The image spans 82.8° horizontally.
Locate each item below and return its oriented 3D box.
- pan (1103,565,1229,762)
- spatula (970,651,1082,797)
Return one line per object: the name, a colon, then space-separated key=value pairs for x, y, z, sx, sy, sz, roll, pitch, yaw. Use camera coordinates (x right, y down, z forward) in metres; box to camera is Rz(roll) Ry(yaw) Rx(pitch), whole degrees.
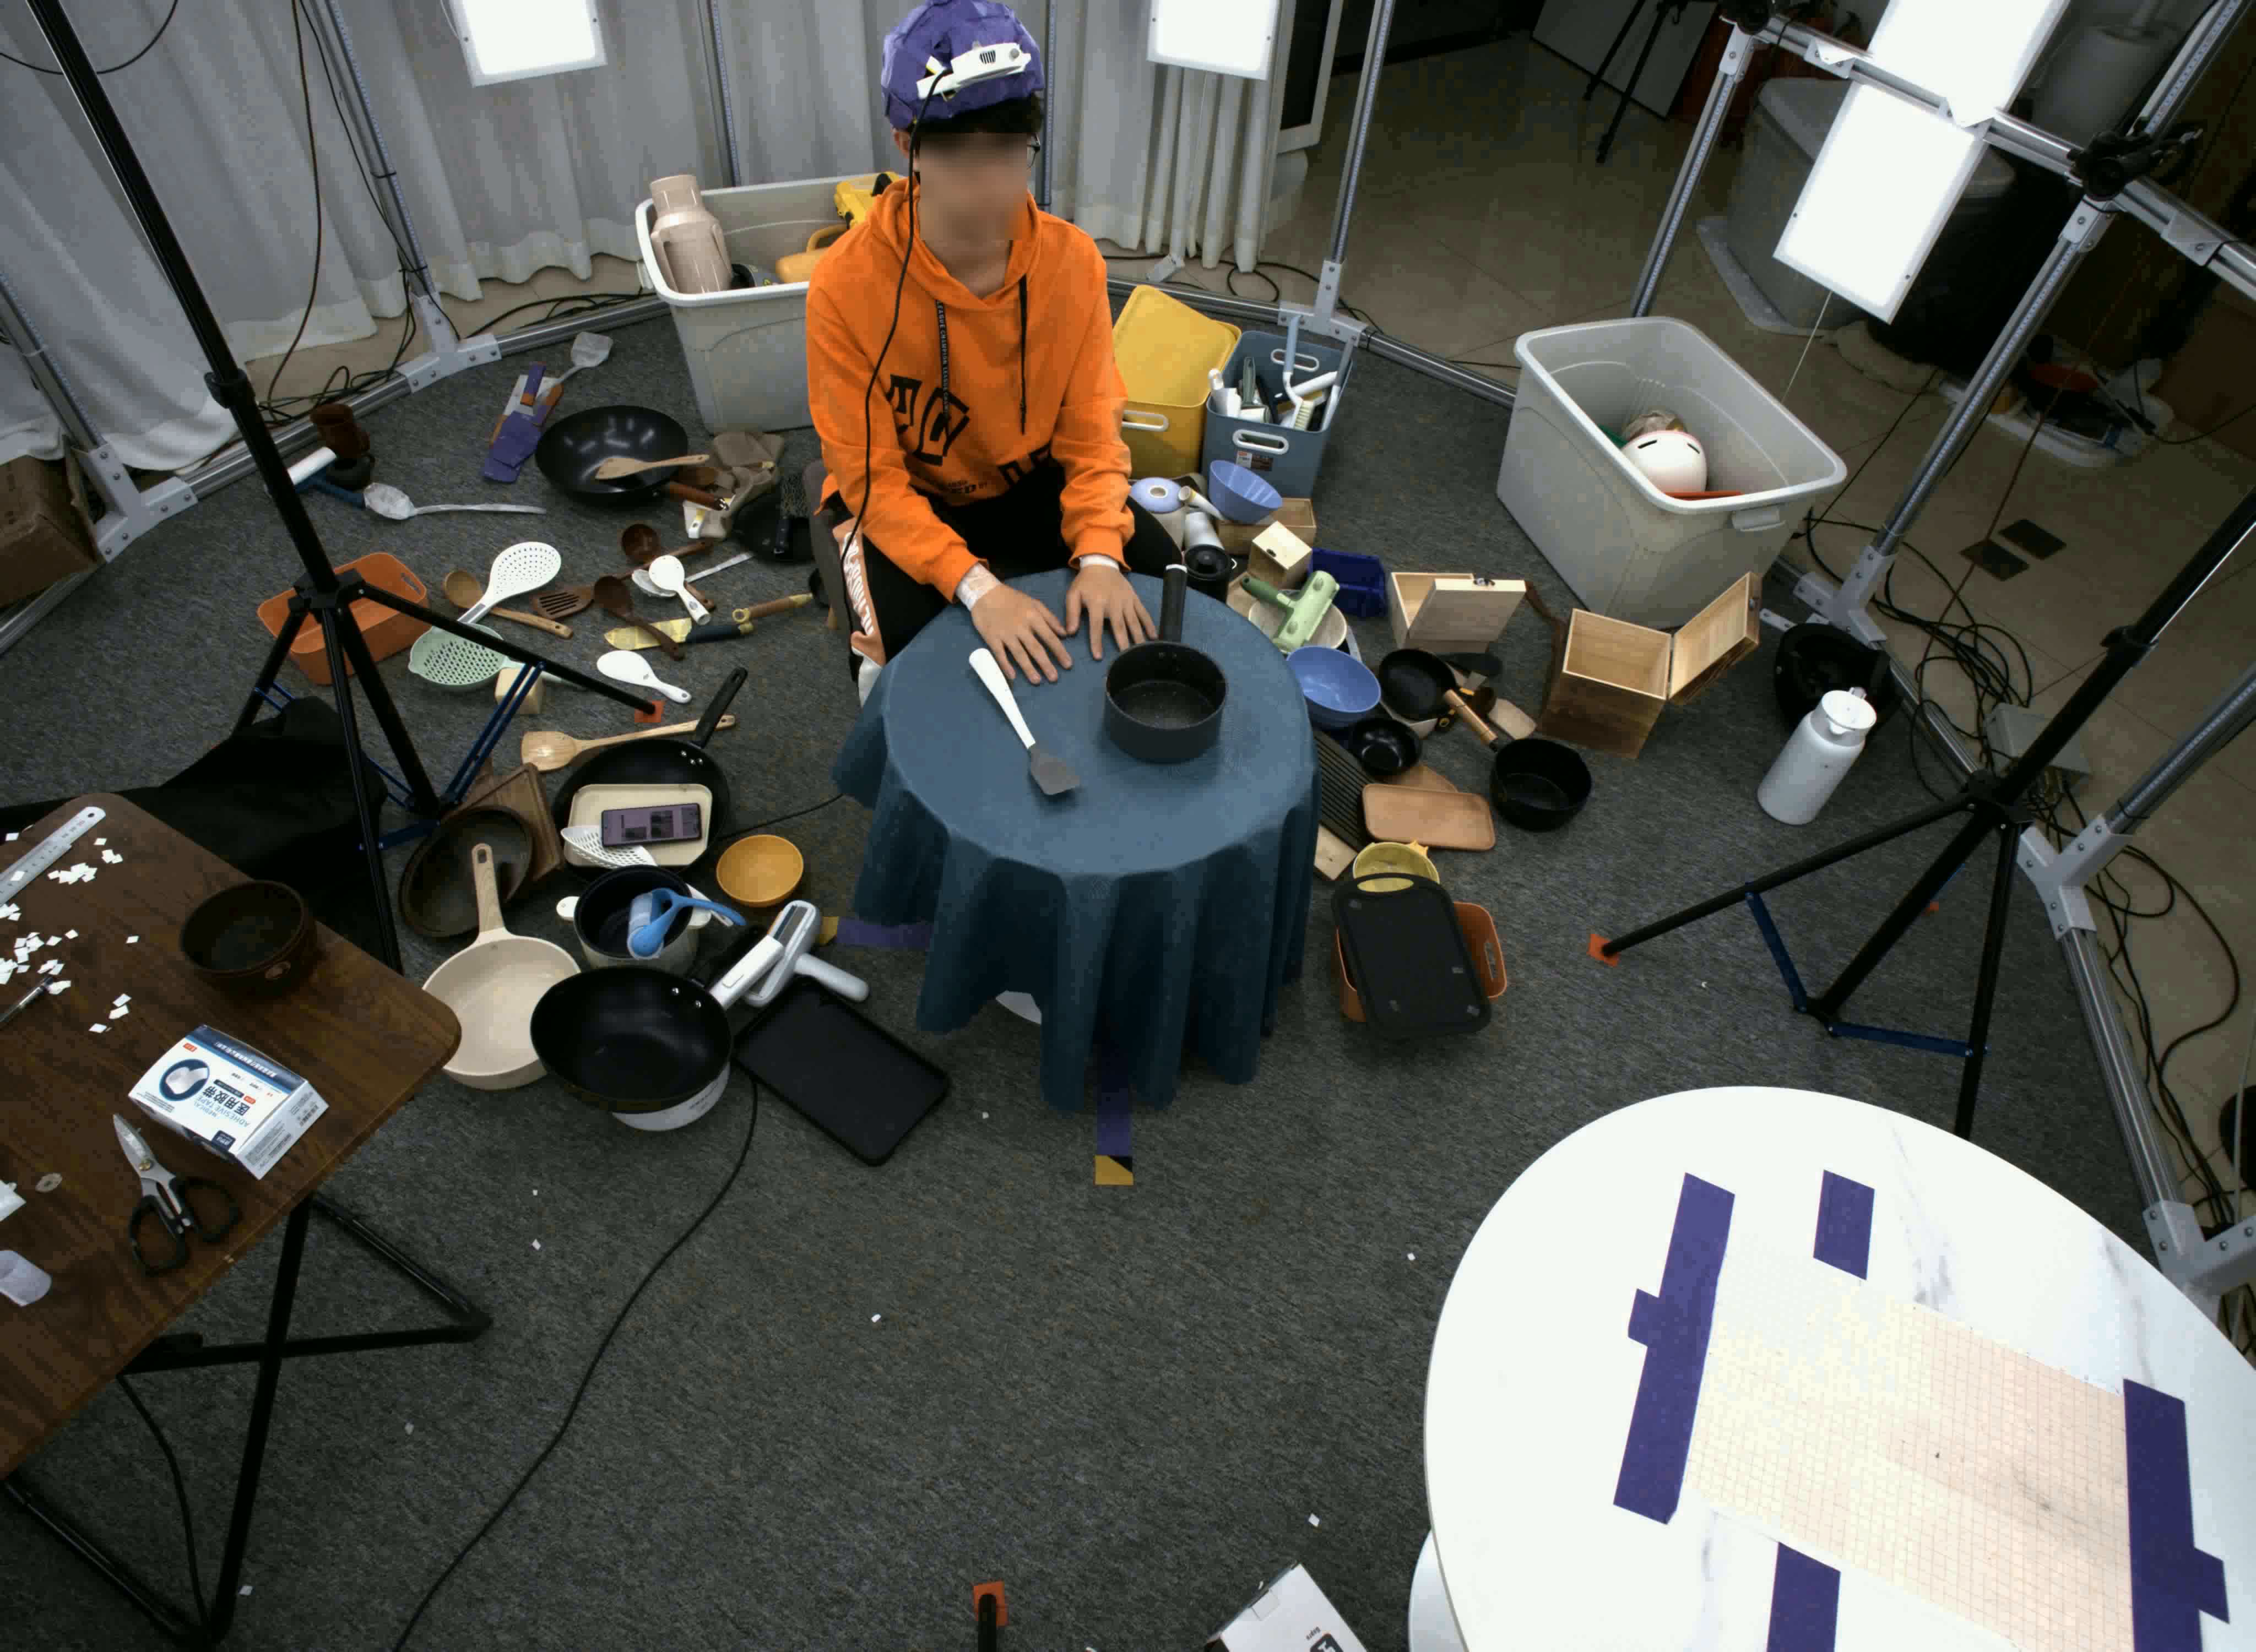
pan: x=0.060 y=-0.234 z=1.821 sx=0.172 sy=0.084 sz=0.336 roll=8 pitch=51 yaw=2
spatula: x=-0.146 y=-0.139 z=1.759 sx=0.059 sy=0.031 sz=0.294 roll=-16 pitch=51 yaw=-23
